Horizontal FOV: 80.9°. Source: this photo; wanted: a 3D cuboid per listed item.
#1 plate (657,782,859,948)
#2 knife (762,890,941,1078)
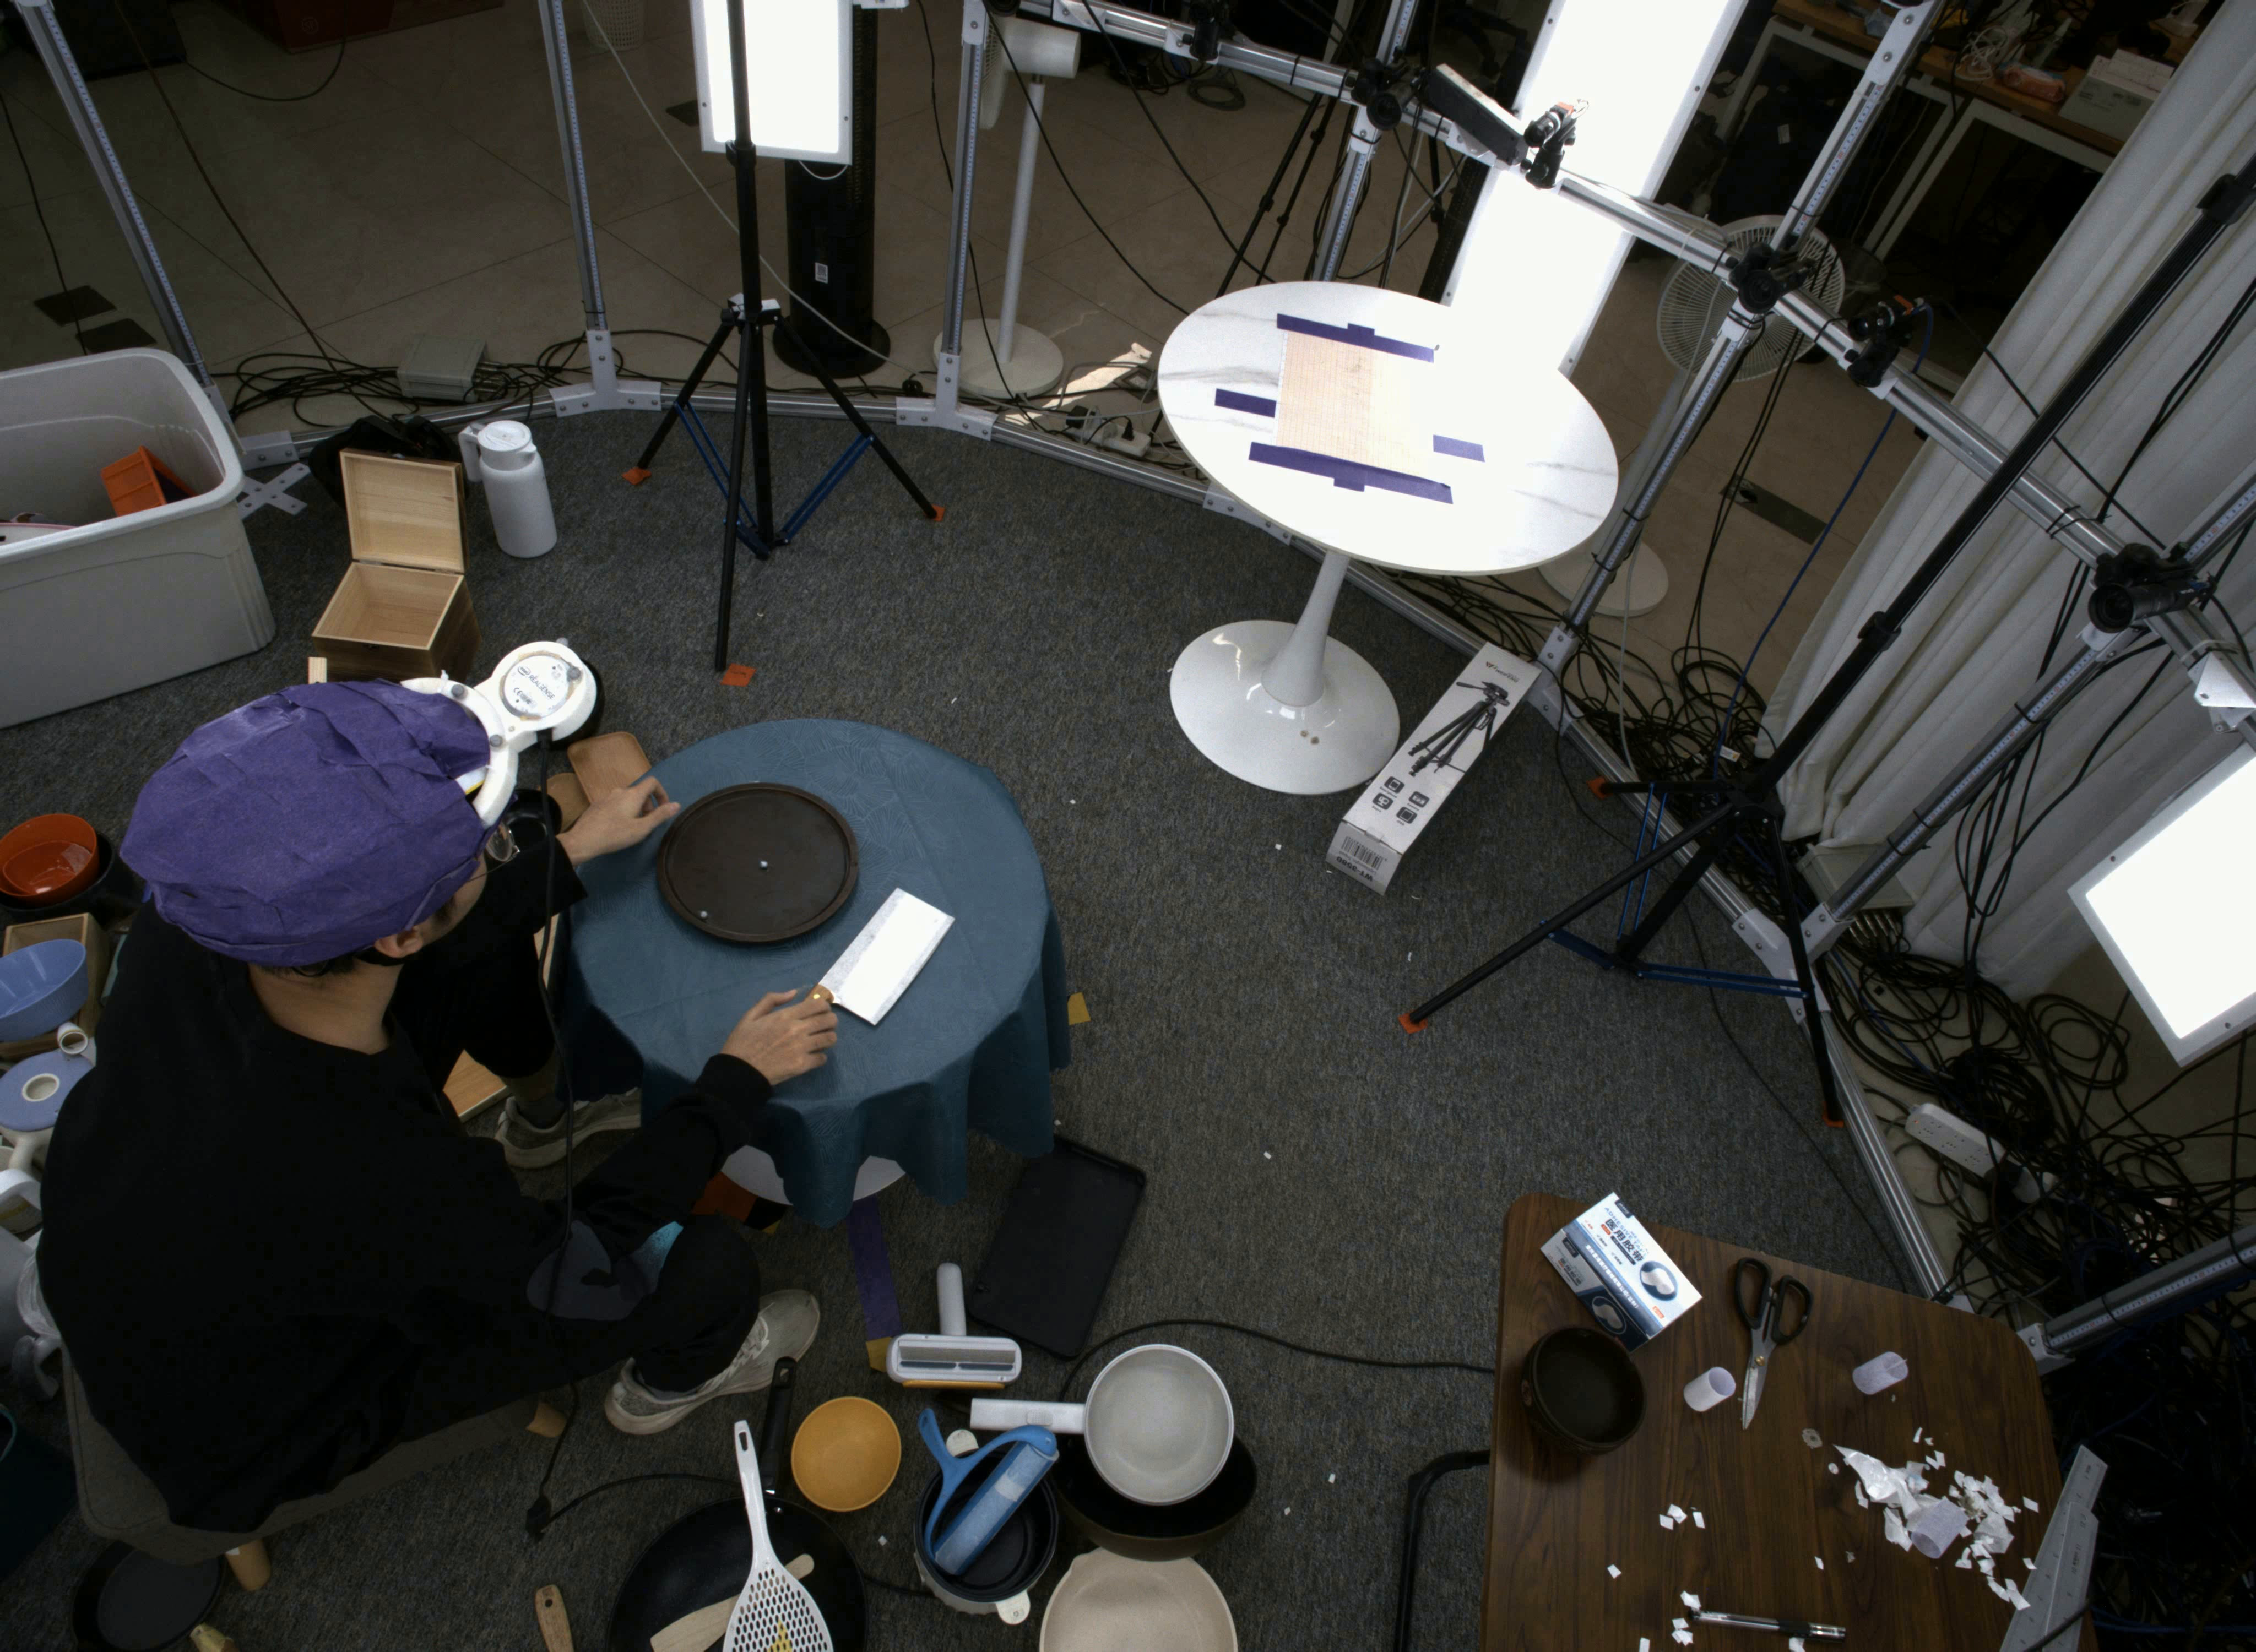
[{"bbox_3d":[-0.471,0.046,1.650,0.255,0.029,0.250,9,52,-10],"label":"plate"},{"bbox_3d":[-0.326,0.194,1.585,0.092,0.021,0.304,29,49,5],"label":"knife"}]
